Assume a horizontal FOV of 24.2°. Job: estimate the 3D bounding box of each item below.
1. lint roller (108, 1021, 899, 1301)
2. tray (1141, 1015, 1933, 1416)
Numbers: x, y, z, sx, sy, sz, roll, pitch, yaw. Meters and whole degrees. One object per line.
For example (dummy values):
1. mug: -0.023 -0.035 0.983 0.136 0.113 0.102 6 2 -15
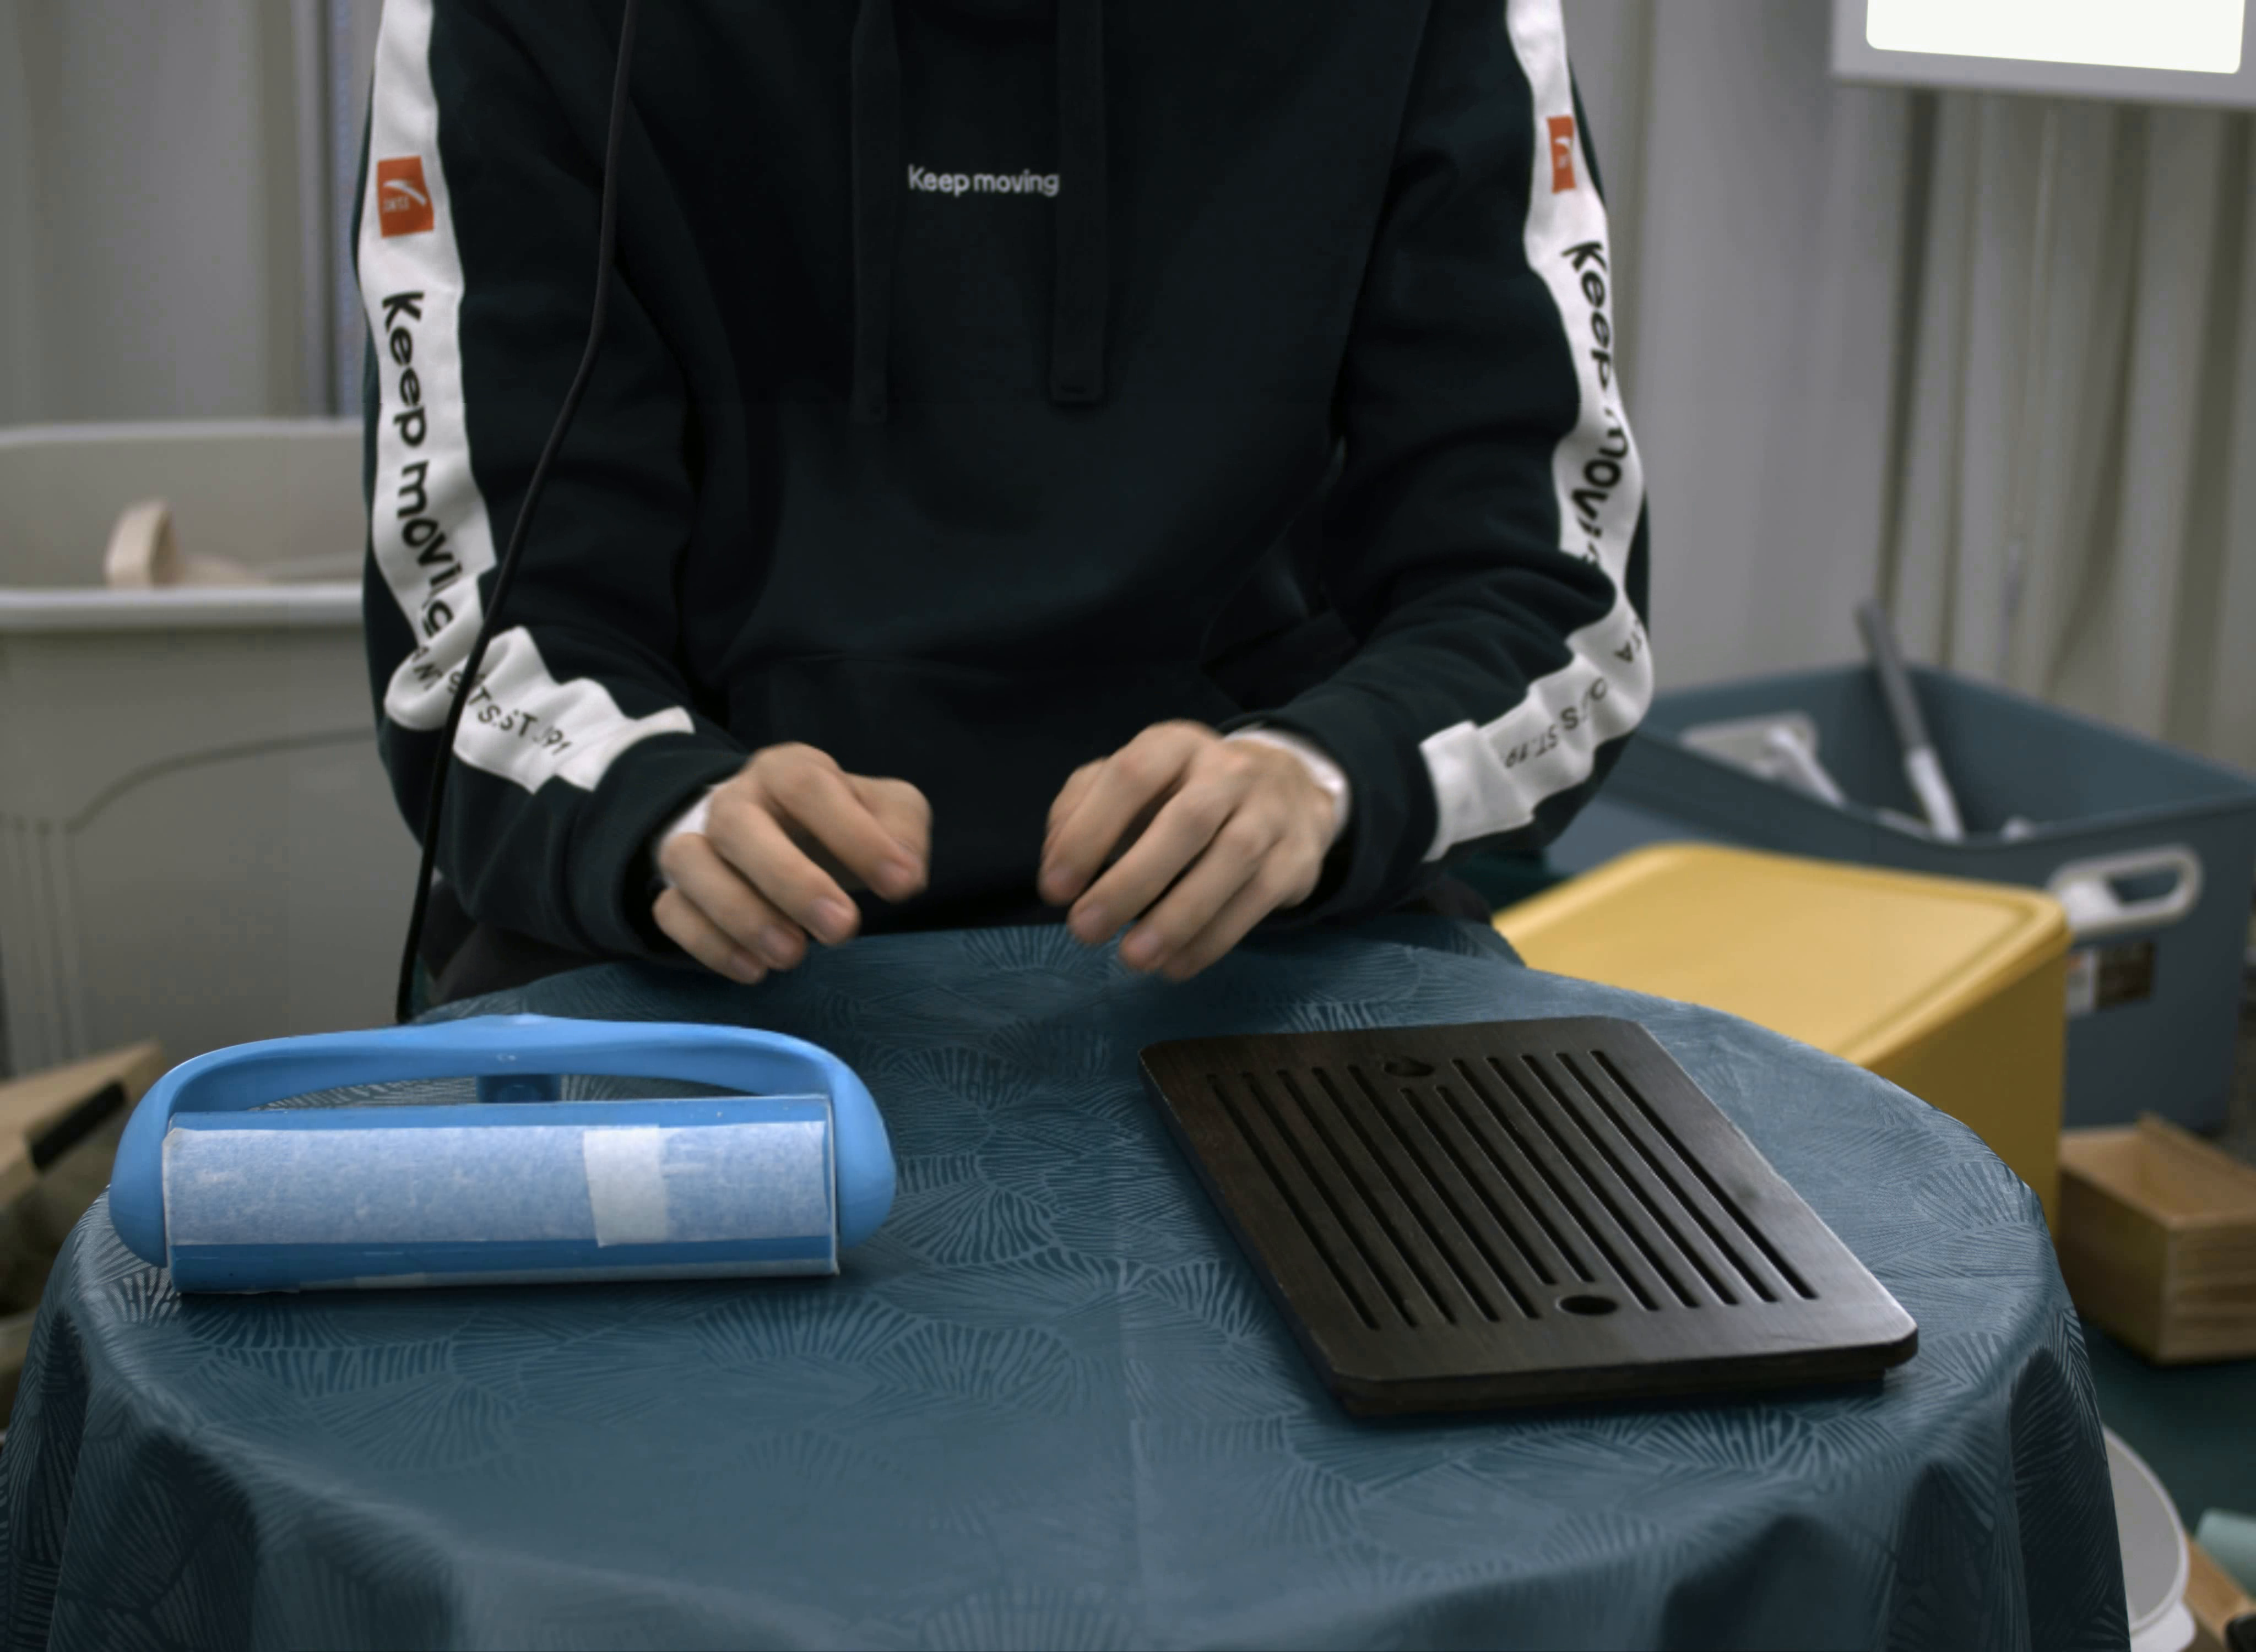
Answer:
1. lint roller: -0.189 0.089 1.587 0.229 0.068 0.179 -4 17 -7
2. tray: 0.114 0.113 1.585 0.170 0.019 0.303 -3 16 -11
